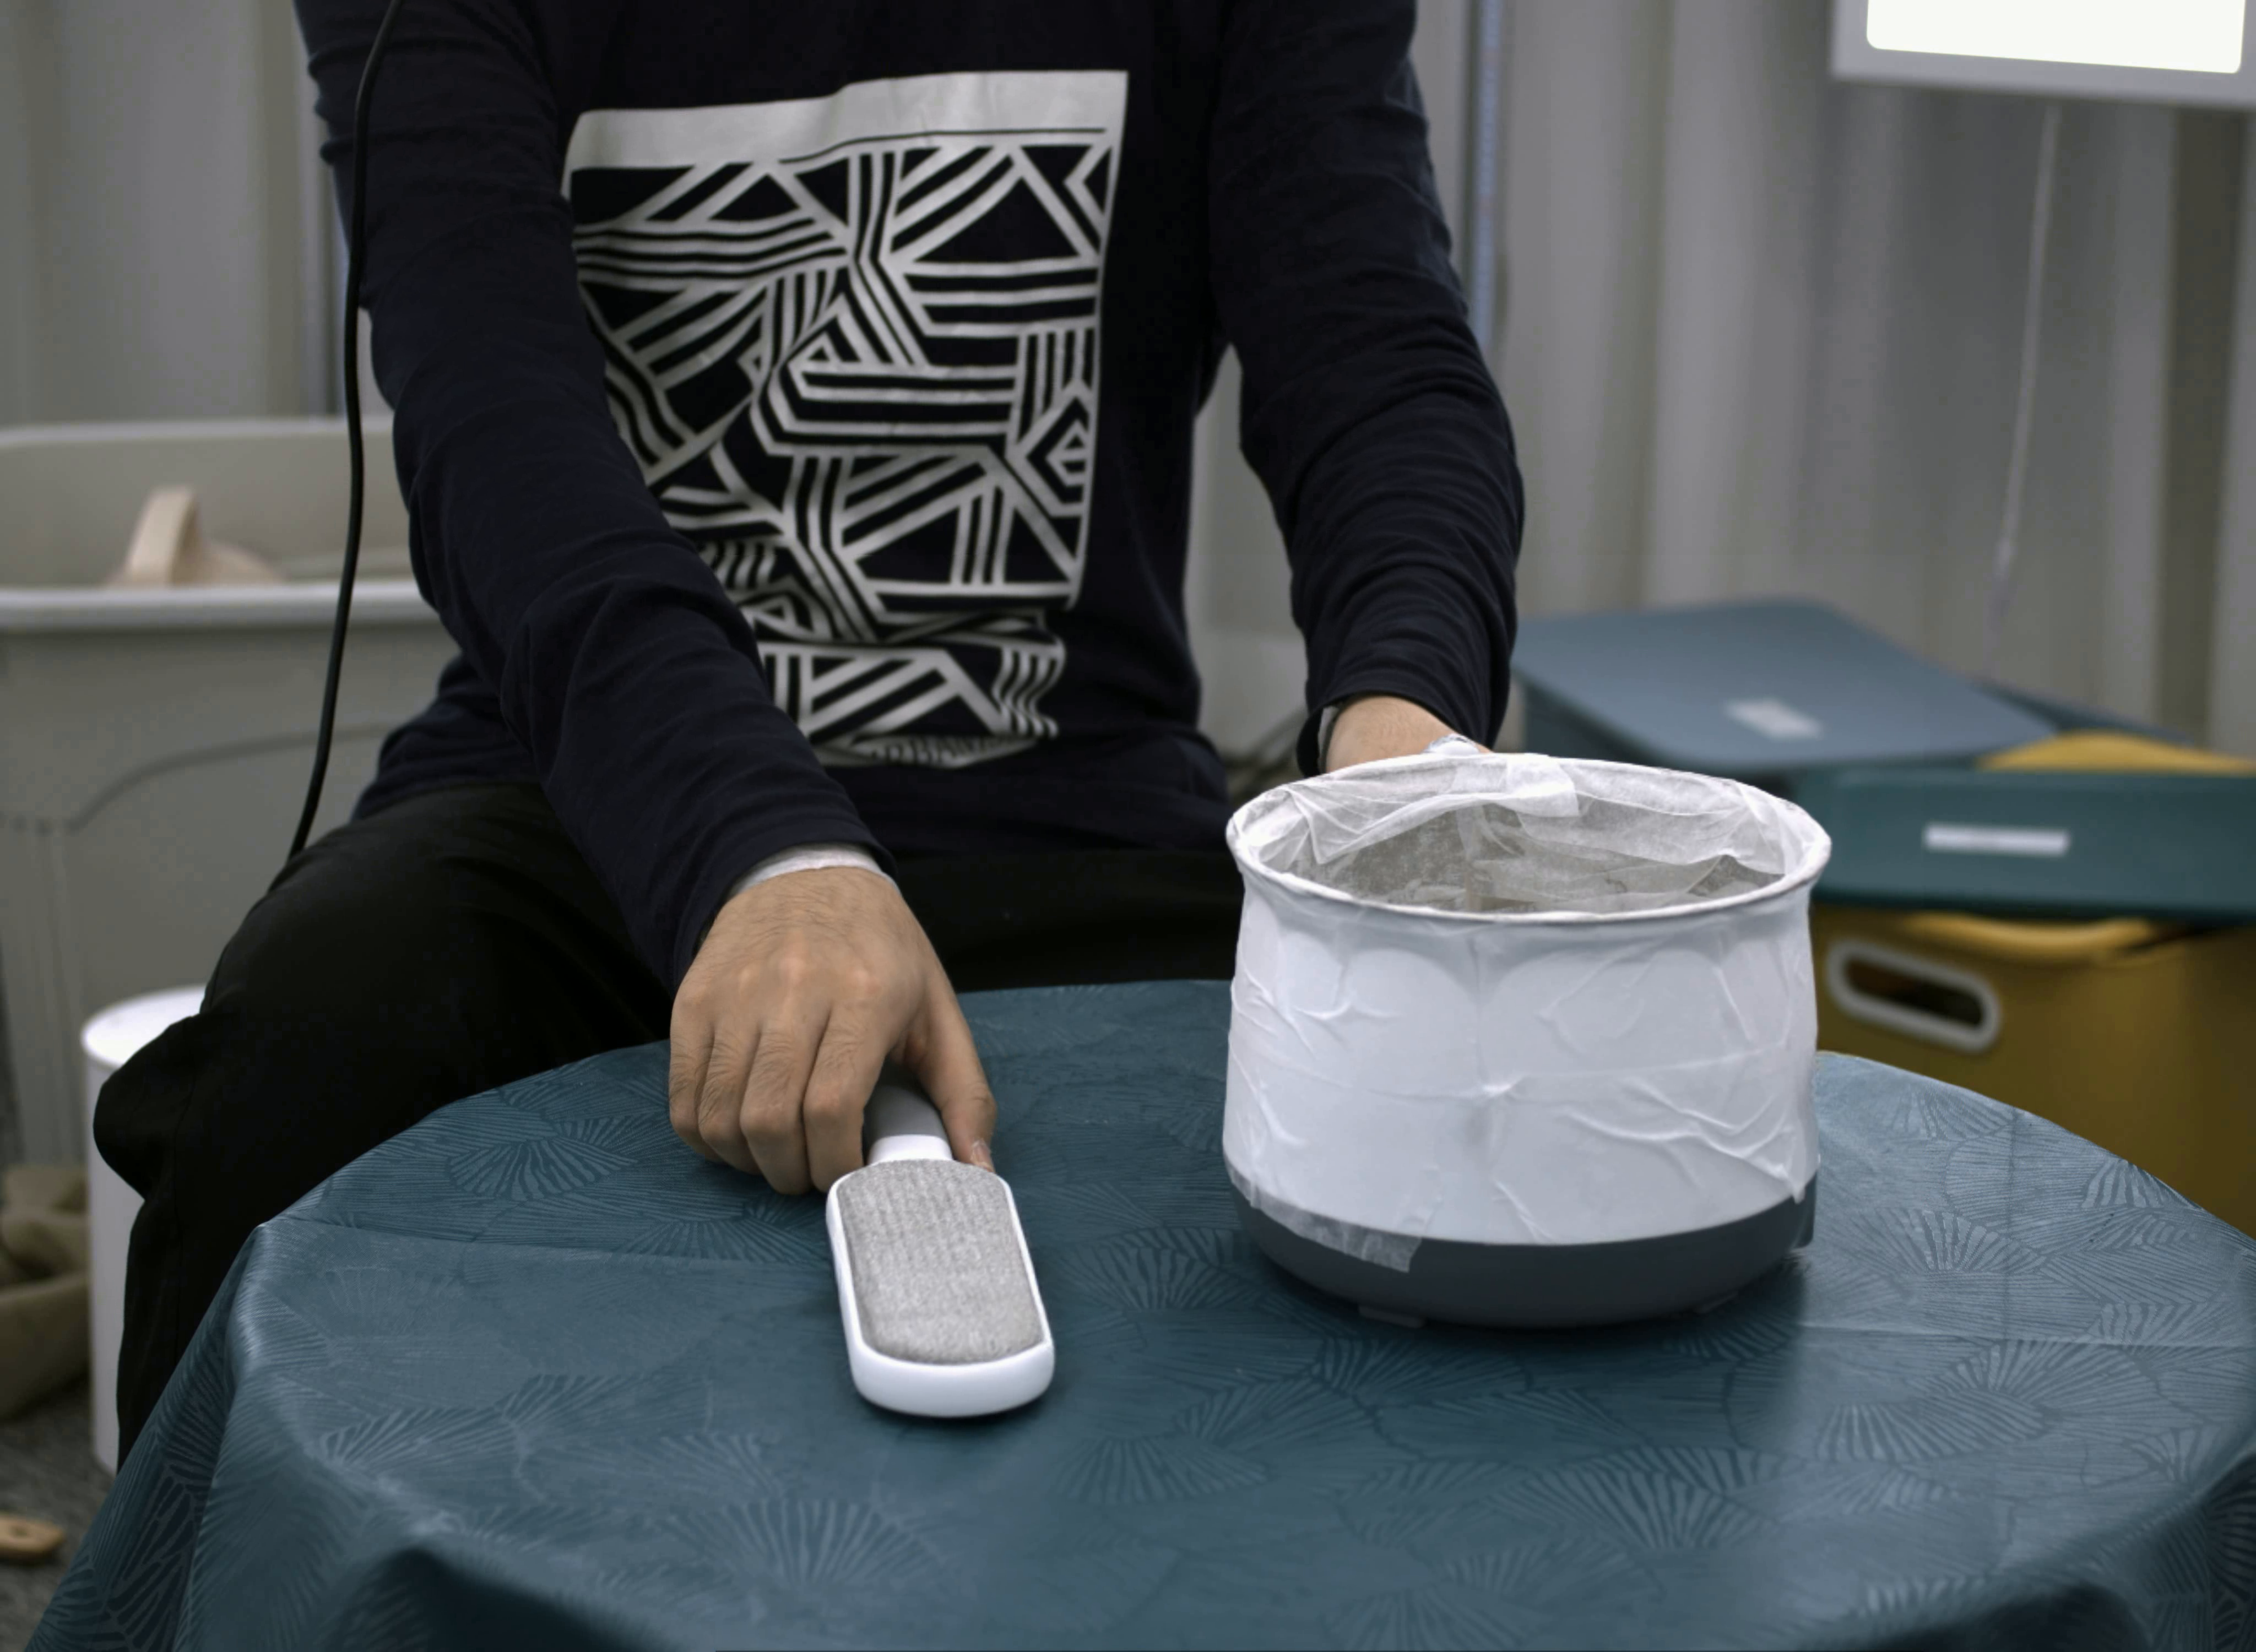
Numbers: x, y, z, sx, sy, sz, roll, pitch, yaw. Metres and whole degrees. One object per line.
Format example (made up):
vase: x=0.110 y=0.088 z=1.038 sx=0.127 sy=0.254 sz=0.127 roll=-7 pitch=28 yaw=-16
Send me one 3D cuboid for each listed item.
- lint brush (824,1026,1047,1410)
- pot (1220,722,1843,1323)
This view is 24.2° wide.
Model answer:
lint brush: x=-0.061 y=0.112 z=1.573 sx=0.060 sy=0.021 sz=0.306 roll=-7 pitch=16 yaw=-4
pot: x=0.111 y=0.053 z=1.576 sx=0.179 sy=0.137 sz=0.231 roll=0 pitch=16 yaw=-11
